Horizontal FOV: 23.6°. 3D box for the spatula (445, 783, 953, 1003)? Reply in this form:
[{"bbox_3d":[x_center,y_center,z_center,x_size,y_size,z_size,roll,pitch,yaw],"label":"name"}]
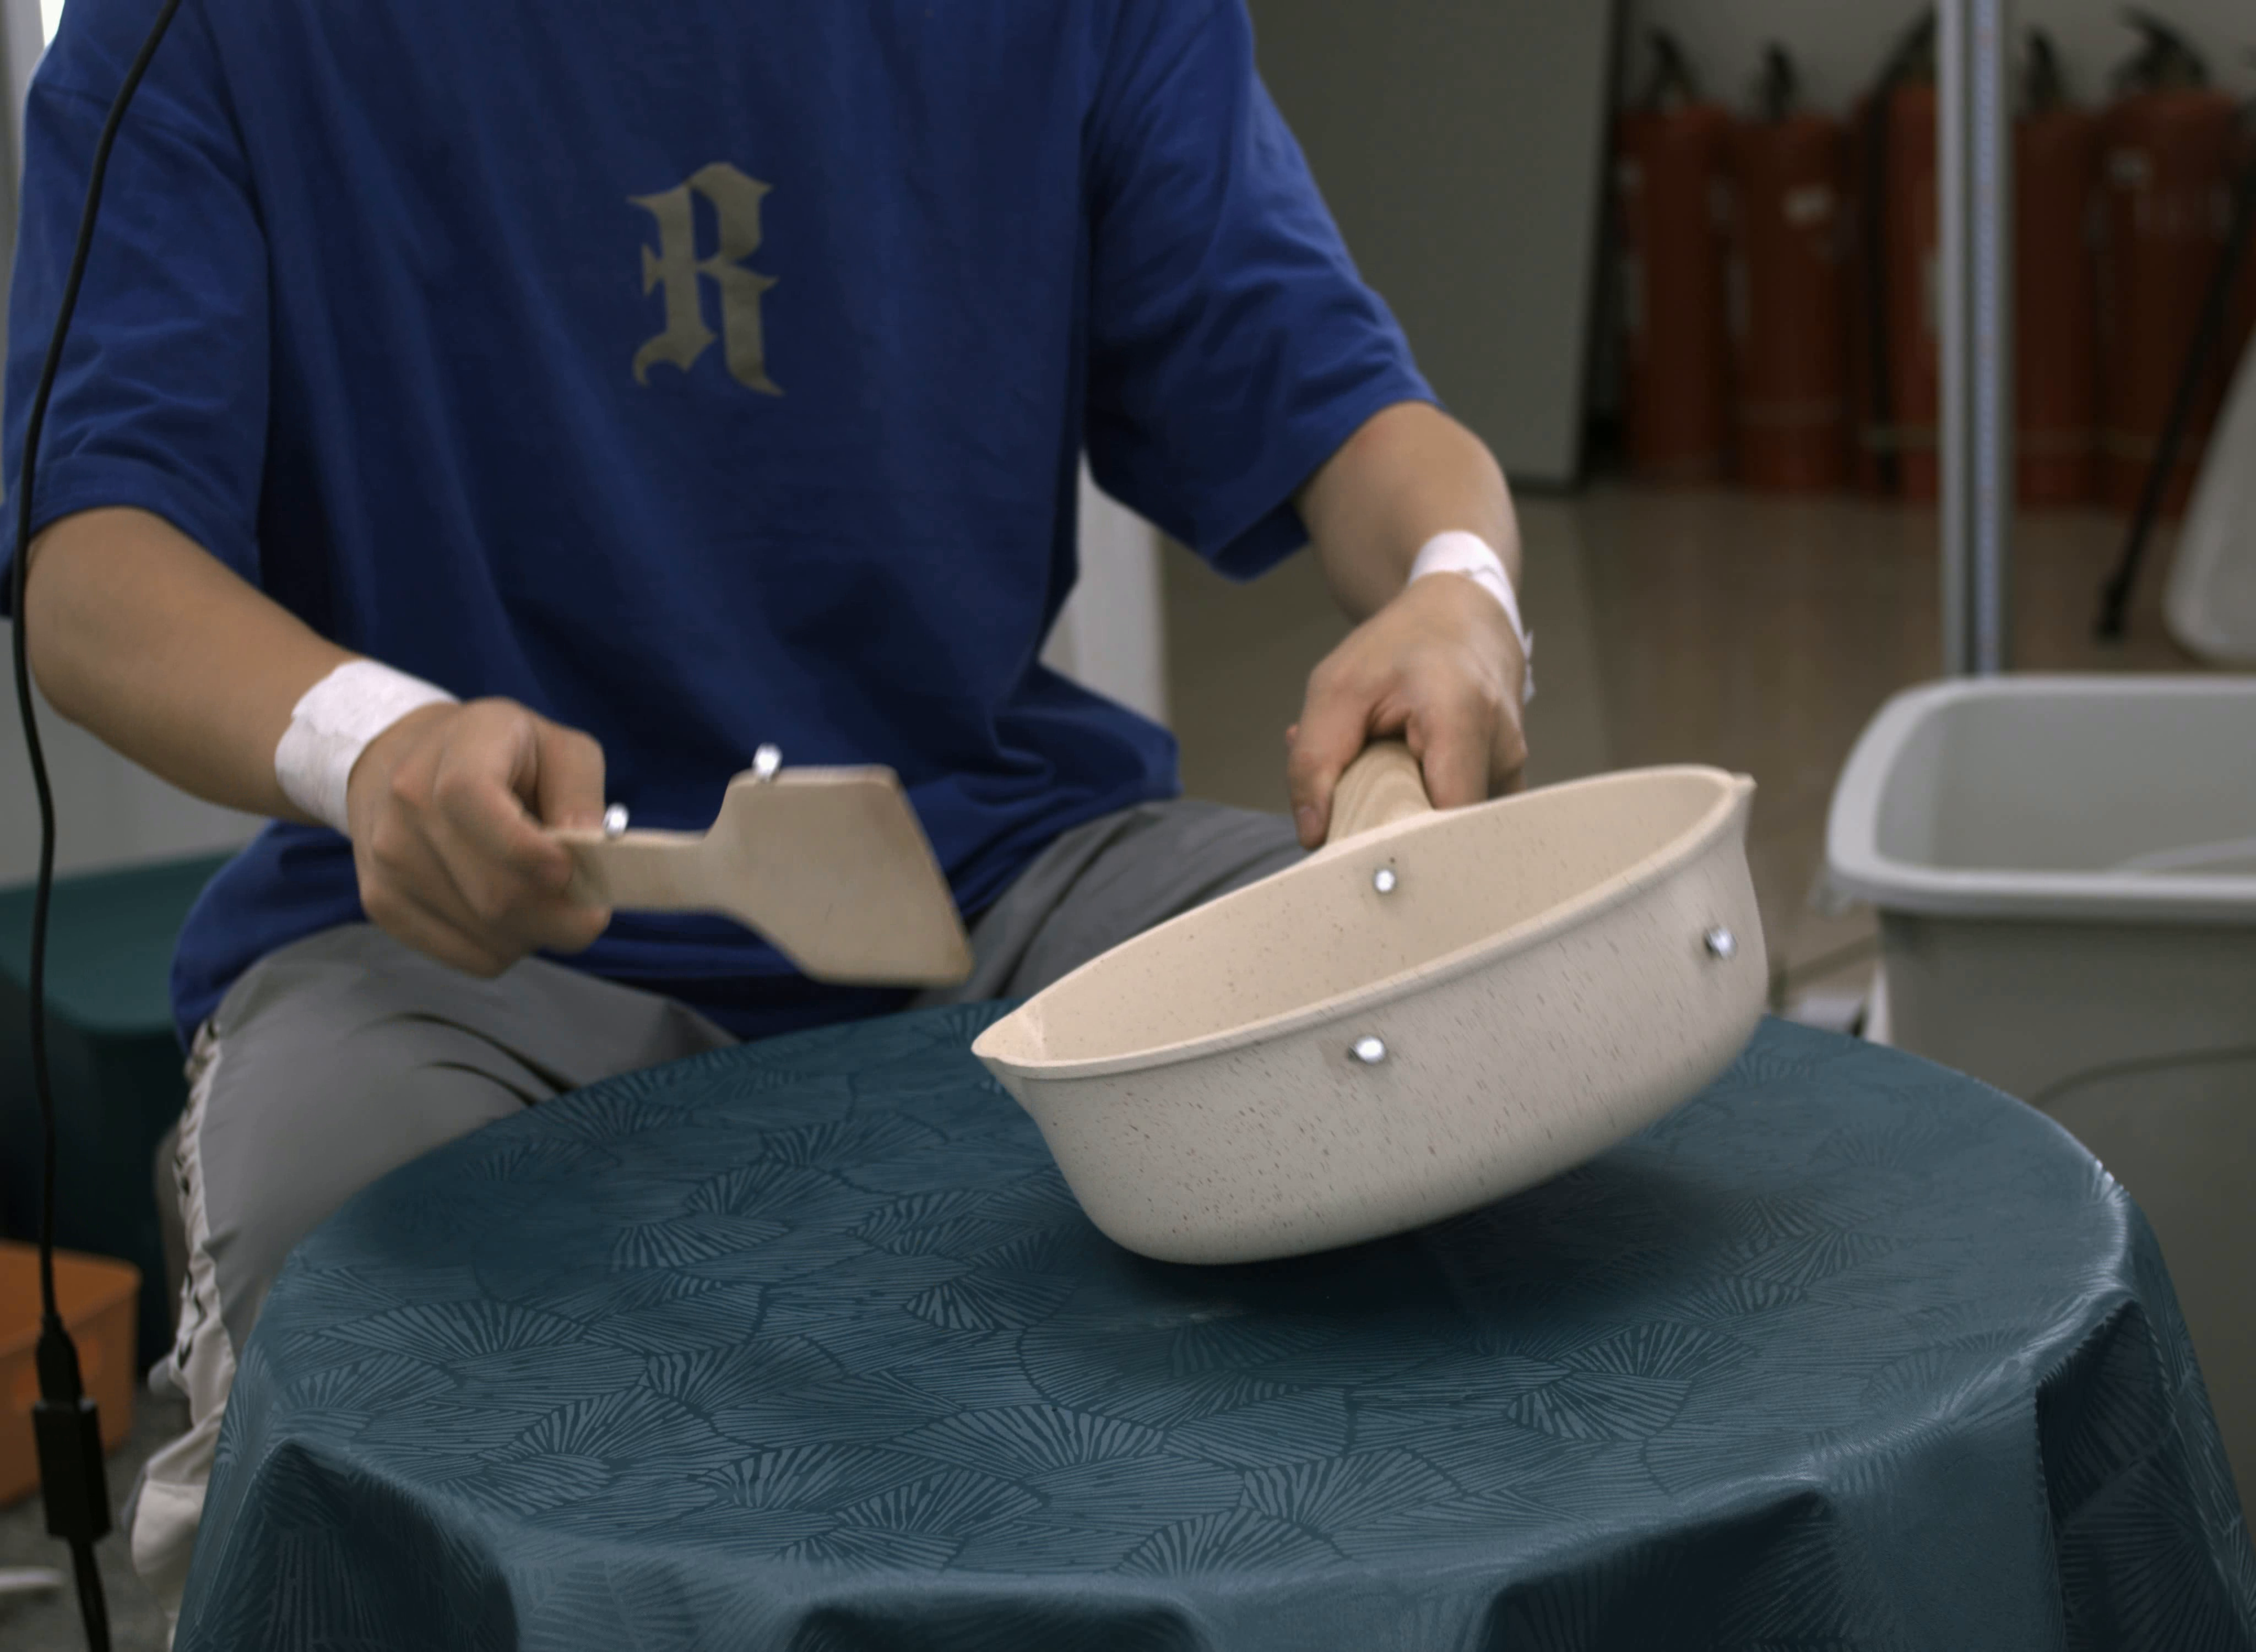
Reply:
[{"bbox_3d":[-0.146,0.018,1.704,0.010,0.072,0.296,-31,17,-29],"label":"spatula"}]

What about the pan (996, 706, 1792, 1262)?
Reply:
[{"bbox_3d":[0.096,0.039,1.786,0.261,0.103,0.434,-20,8,7],"label":"pan"}]
